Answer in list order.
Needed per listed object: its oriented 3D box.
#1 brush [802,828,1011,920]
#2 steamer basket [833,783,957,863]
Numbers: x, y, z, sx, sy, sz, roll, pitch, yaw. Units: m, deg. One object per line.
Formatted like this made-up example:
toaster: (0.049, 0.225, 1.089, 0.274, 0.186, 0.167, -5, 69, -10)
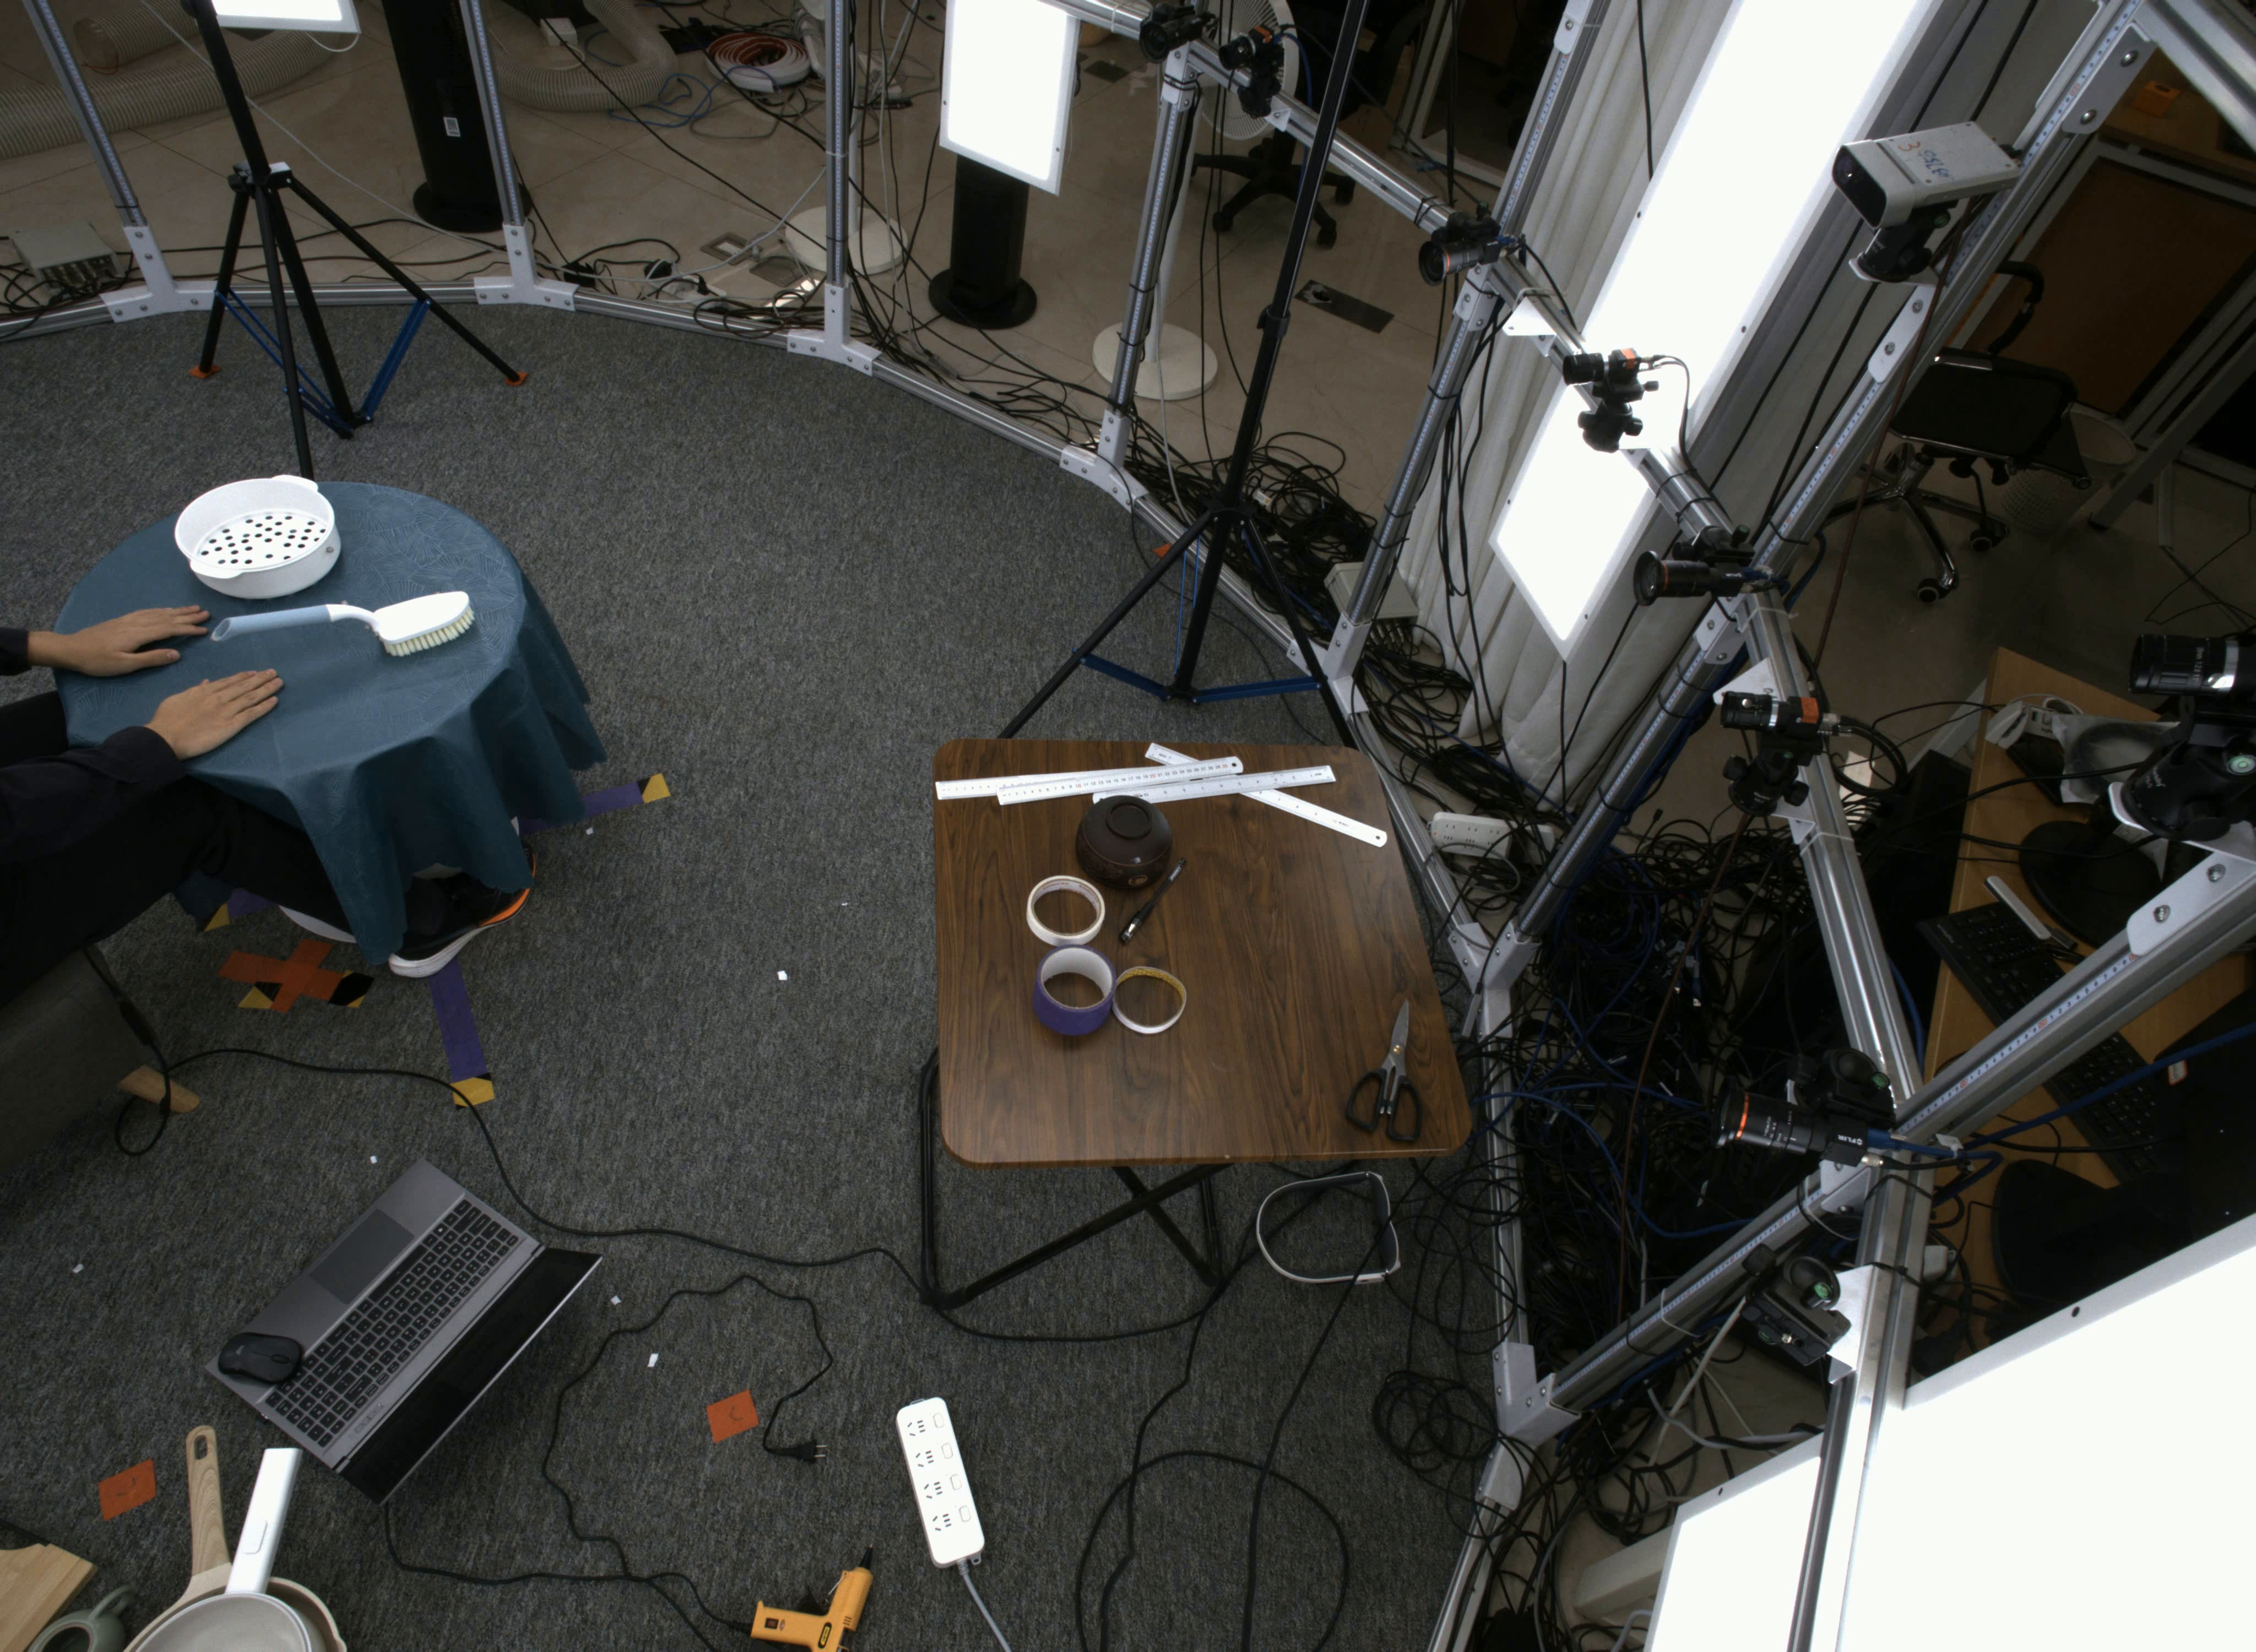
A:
brush: (-0.335, 0.083, 1.960, 0.327, 0.084, 0.083, 15, -15, -13)
steamer basket: (-0.387, -0.005, 2.174, 0.194, 0.071, 0.233, 24, 29, 35)
